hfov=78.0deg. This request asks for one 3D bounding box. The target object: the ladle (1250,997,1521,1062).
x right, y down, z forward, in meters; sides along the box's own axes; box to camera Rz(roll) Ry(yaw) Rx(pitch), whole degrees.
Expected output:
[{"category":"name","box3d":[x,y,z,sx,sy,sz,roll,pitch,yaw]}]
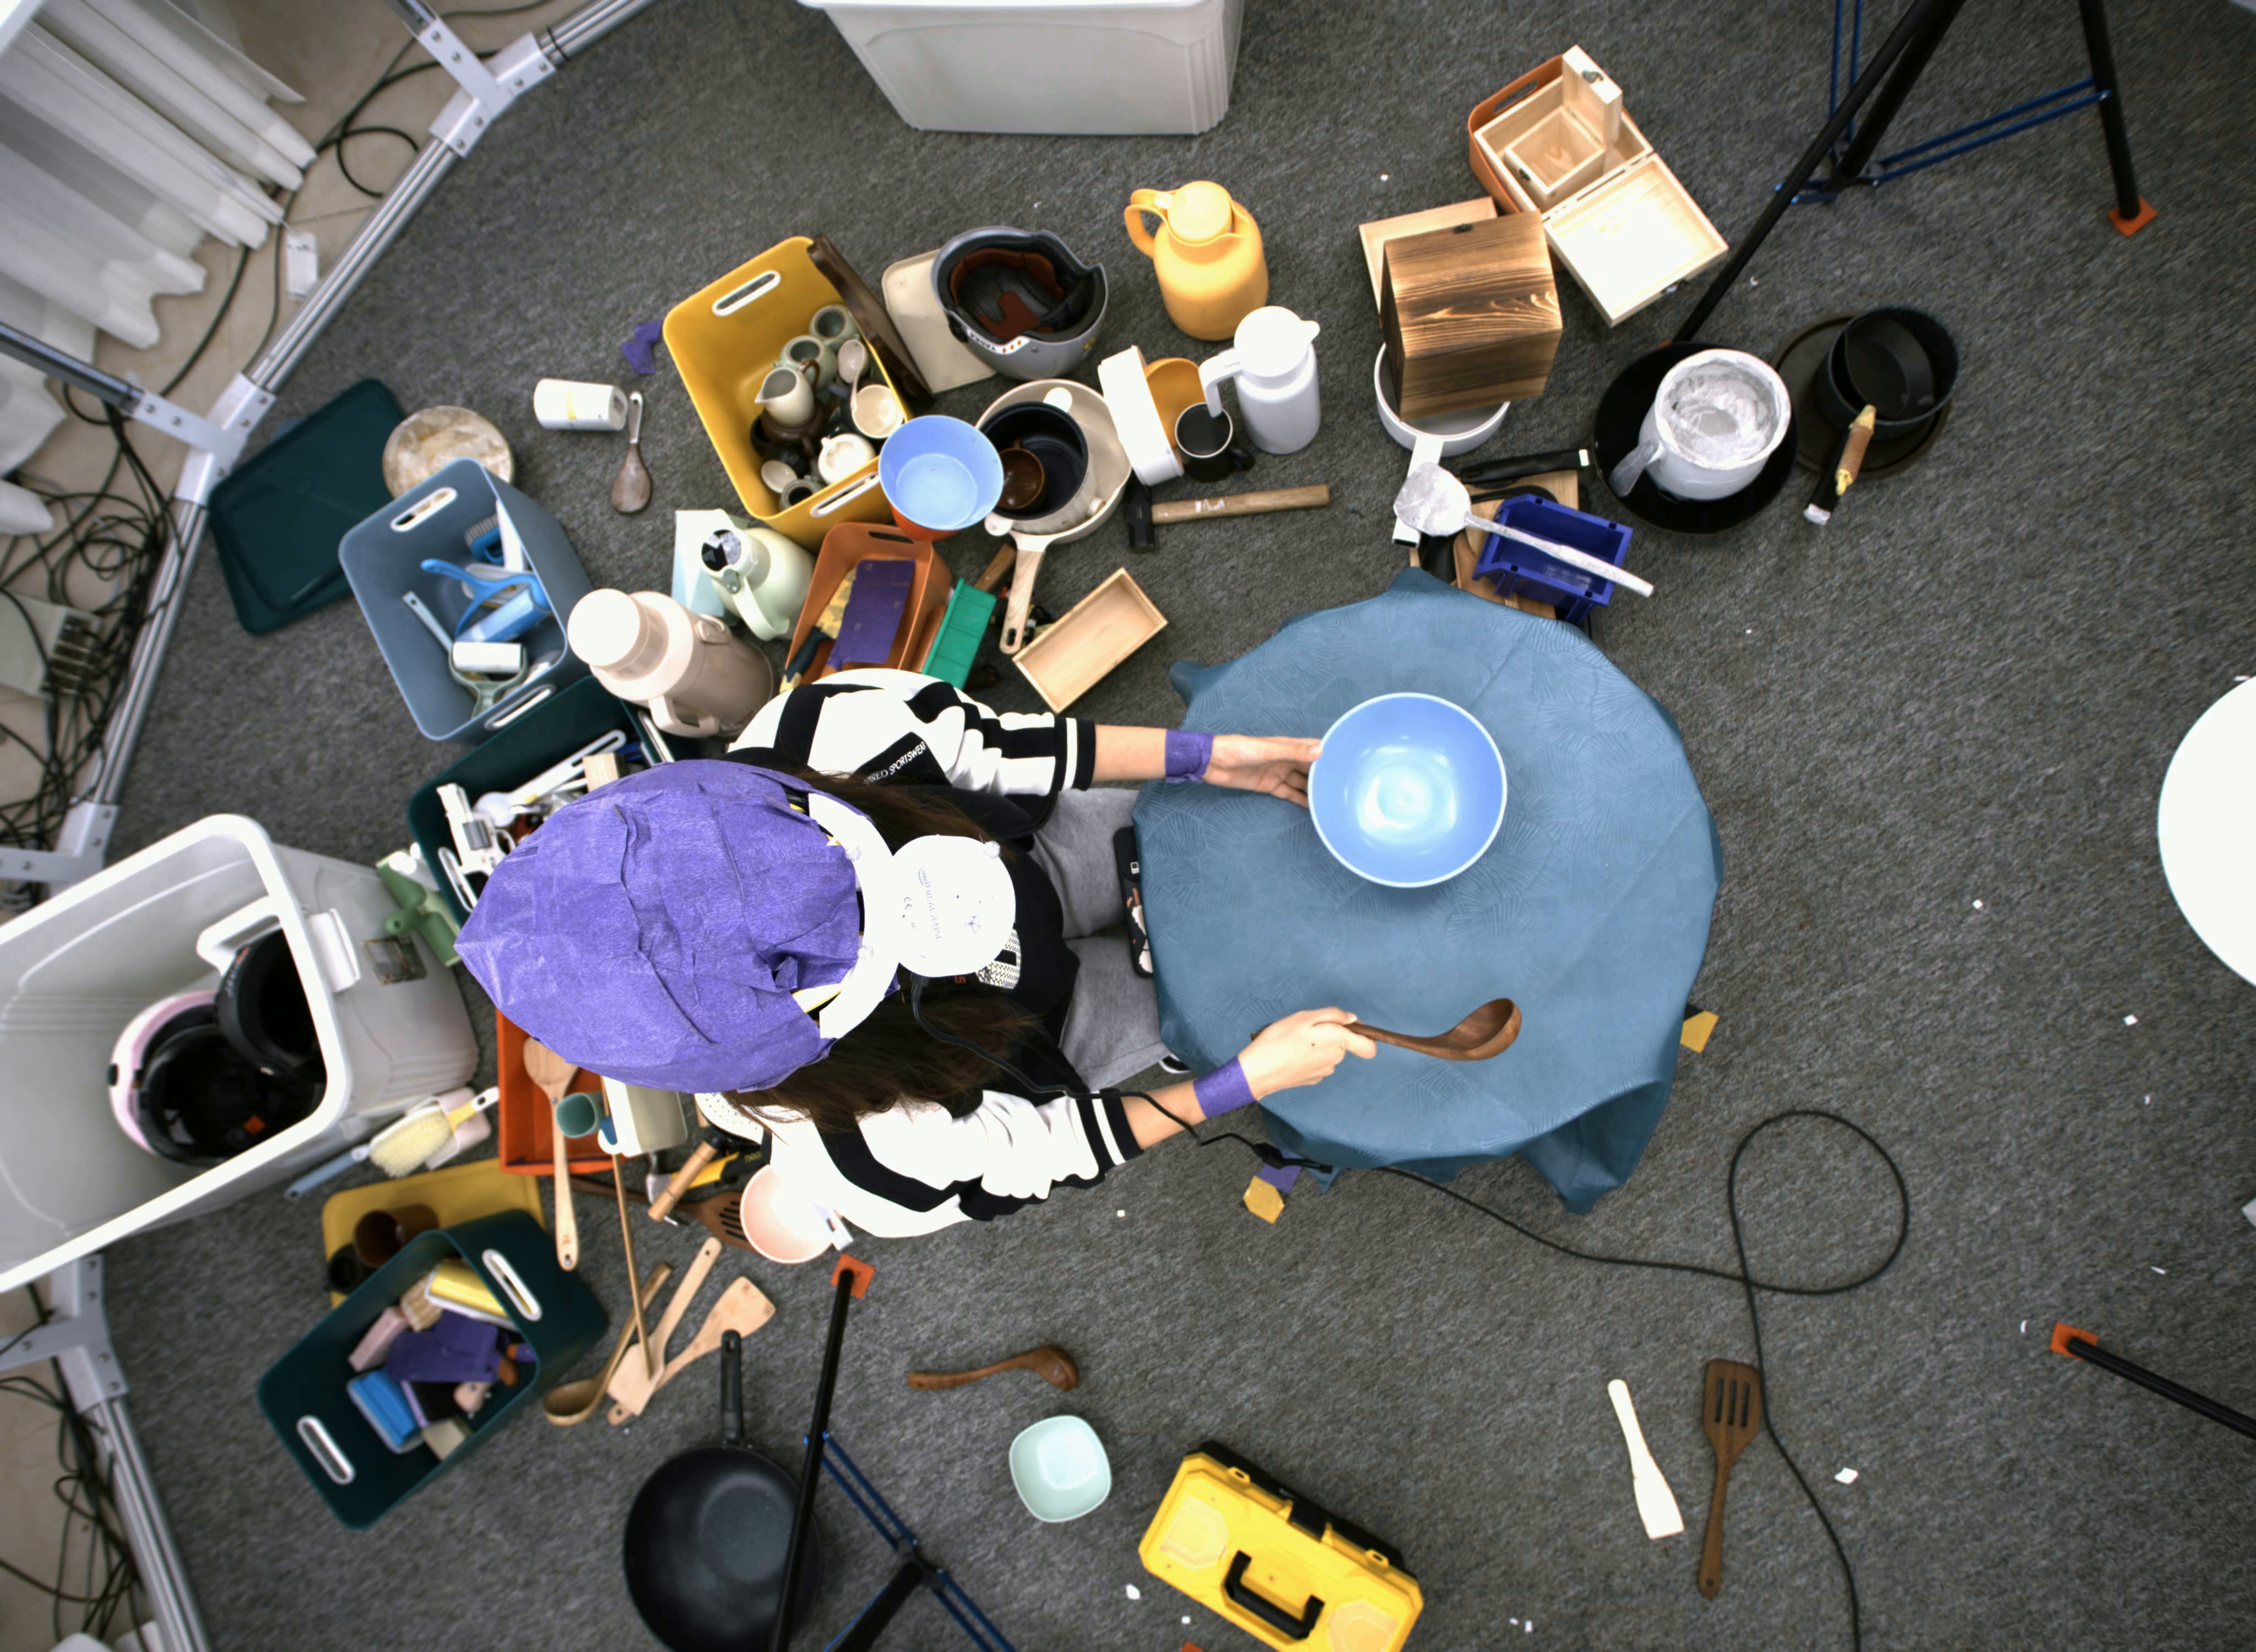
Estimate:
[{"category":"ladle","box3d":[0.251,0.192,1.353,0.261,0.075,0.066,3,107,8]}]

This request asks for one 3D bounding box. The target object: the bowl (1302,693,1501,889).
[{"category":"bowl","box3d":[0.277,-0.035,1.417,0.197,0.095,0.196,0,91,6]}]
